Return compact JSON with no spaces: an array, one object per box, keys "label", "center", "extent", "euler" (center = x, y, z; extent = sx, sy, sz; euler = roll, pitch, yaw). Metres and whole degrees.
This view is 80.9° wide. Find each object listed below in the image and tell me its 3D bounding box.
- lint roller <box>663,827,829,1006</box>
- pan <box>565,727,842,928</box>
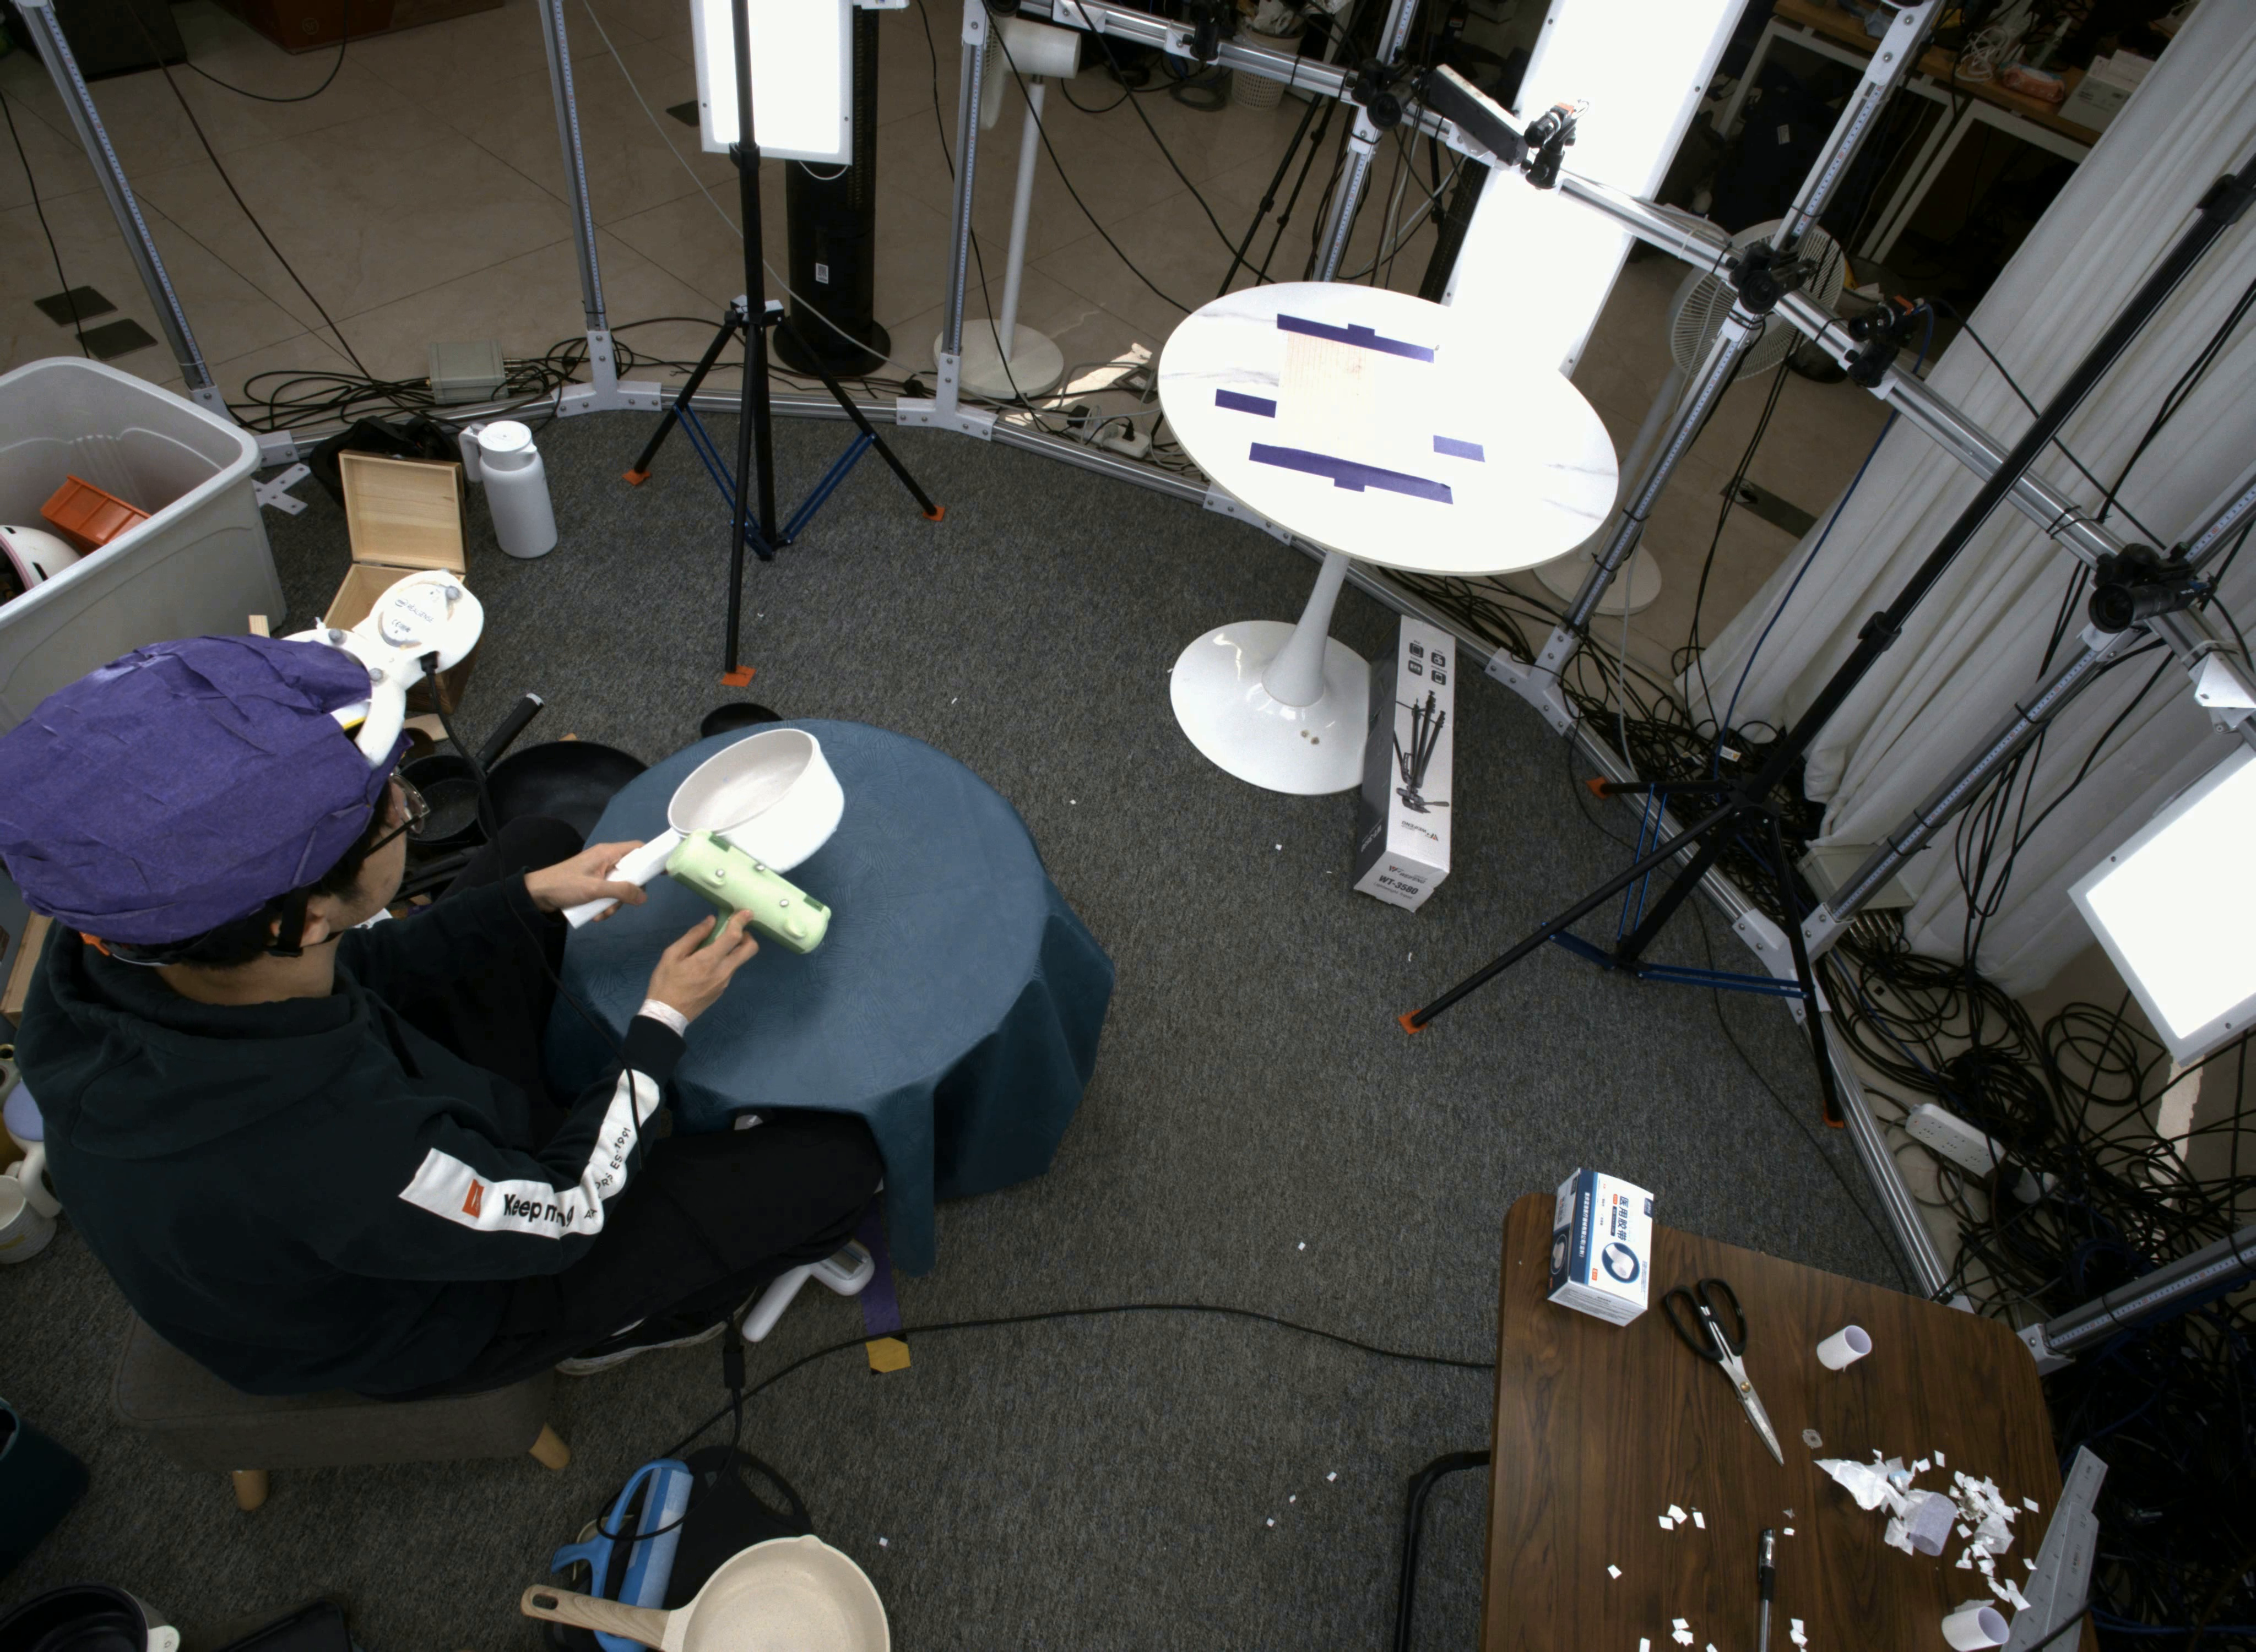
[{"label":"lint roller","center":[-0.465,0.126,1.483],"extent":[0.205,0.079,0.183],"euler":[39,71,-32]},{"label":"pan","center":[-0.505,0.024,1.546],"extent":[0.355,0.106,0.193],"euler":[-38,39,-19]}]
